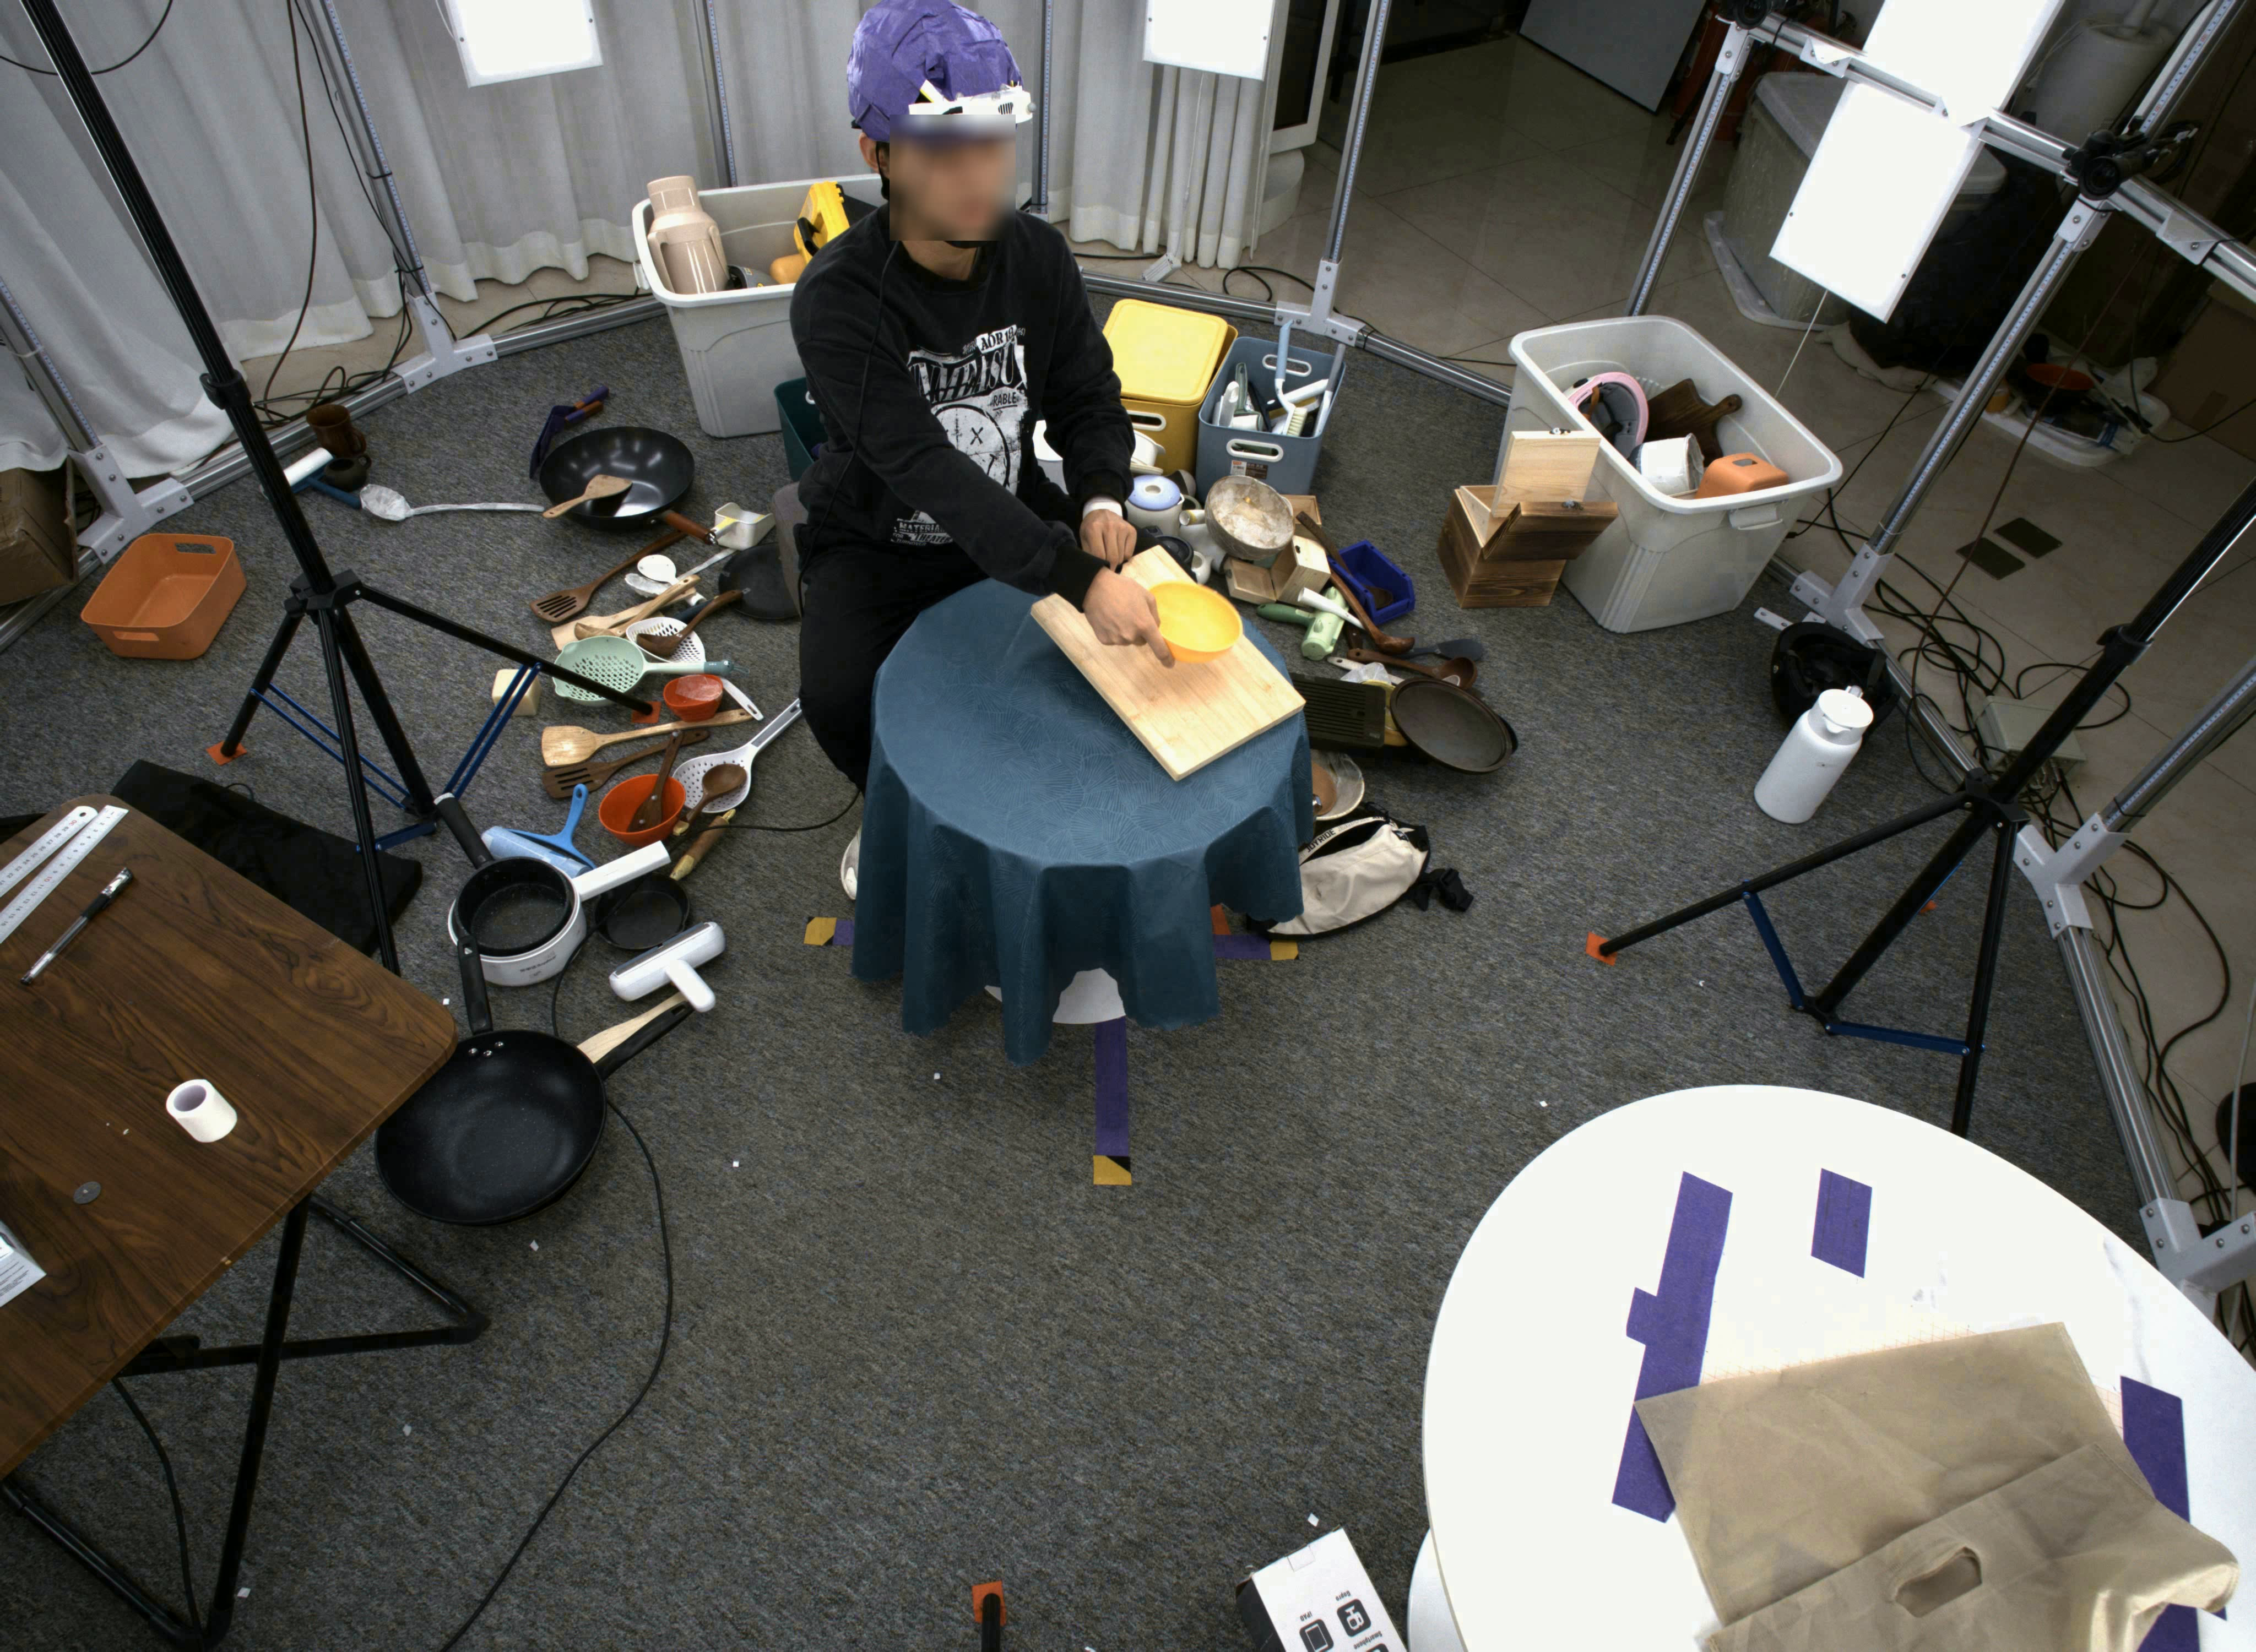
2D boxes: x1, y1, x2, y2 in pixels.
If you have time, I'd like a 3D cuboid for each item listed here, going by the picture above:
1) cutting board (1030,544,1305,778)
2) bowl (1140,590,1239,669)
[{"bbox_3d":[0.055,-0.245,1.850,0.252,0.023,0.353,-30,67,-27],"label":"cutting board"},{"bbox_3d":[0.077,-0.260,1.768,0.145,0.059,0.149,12,40,-11],"label":"bowl"}]
